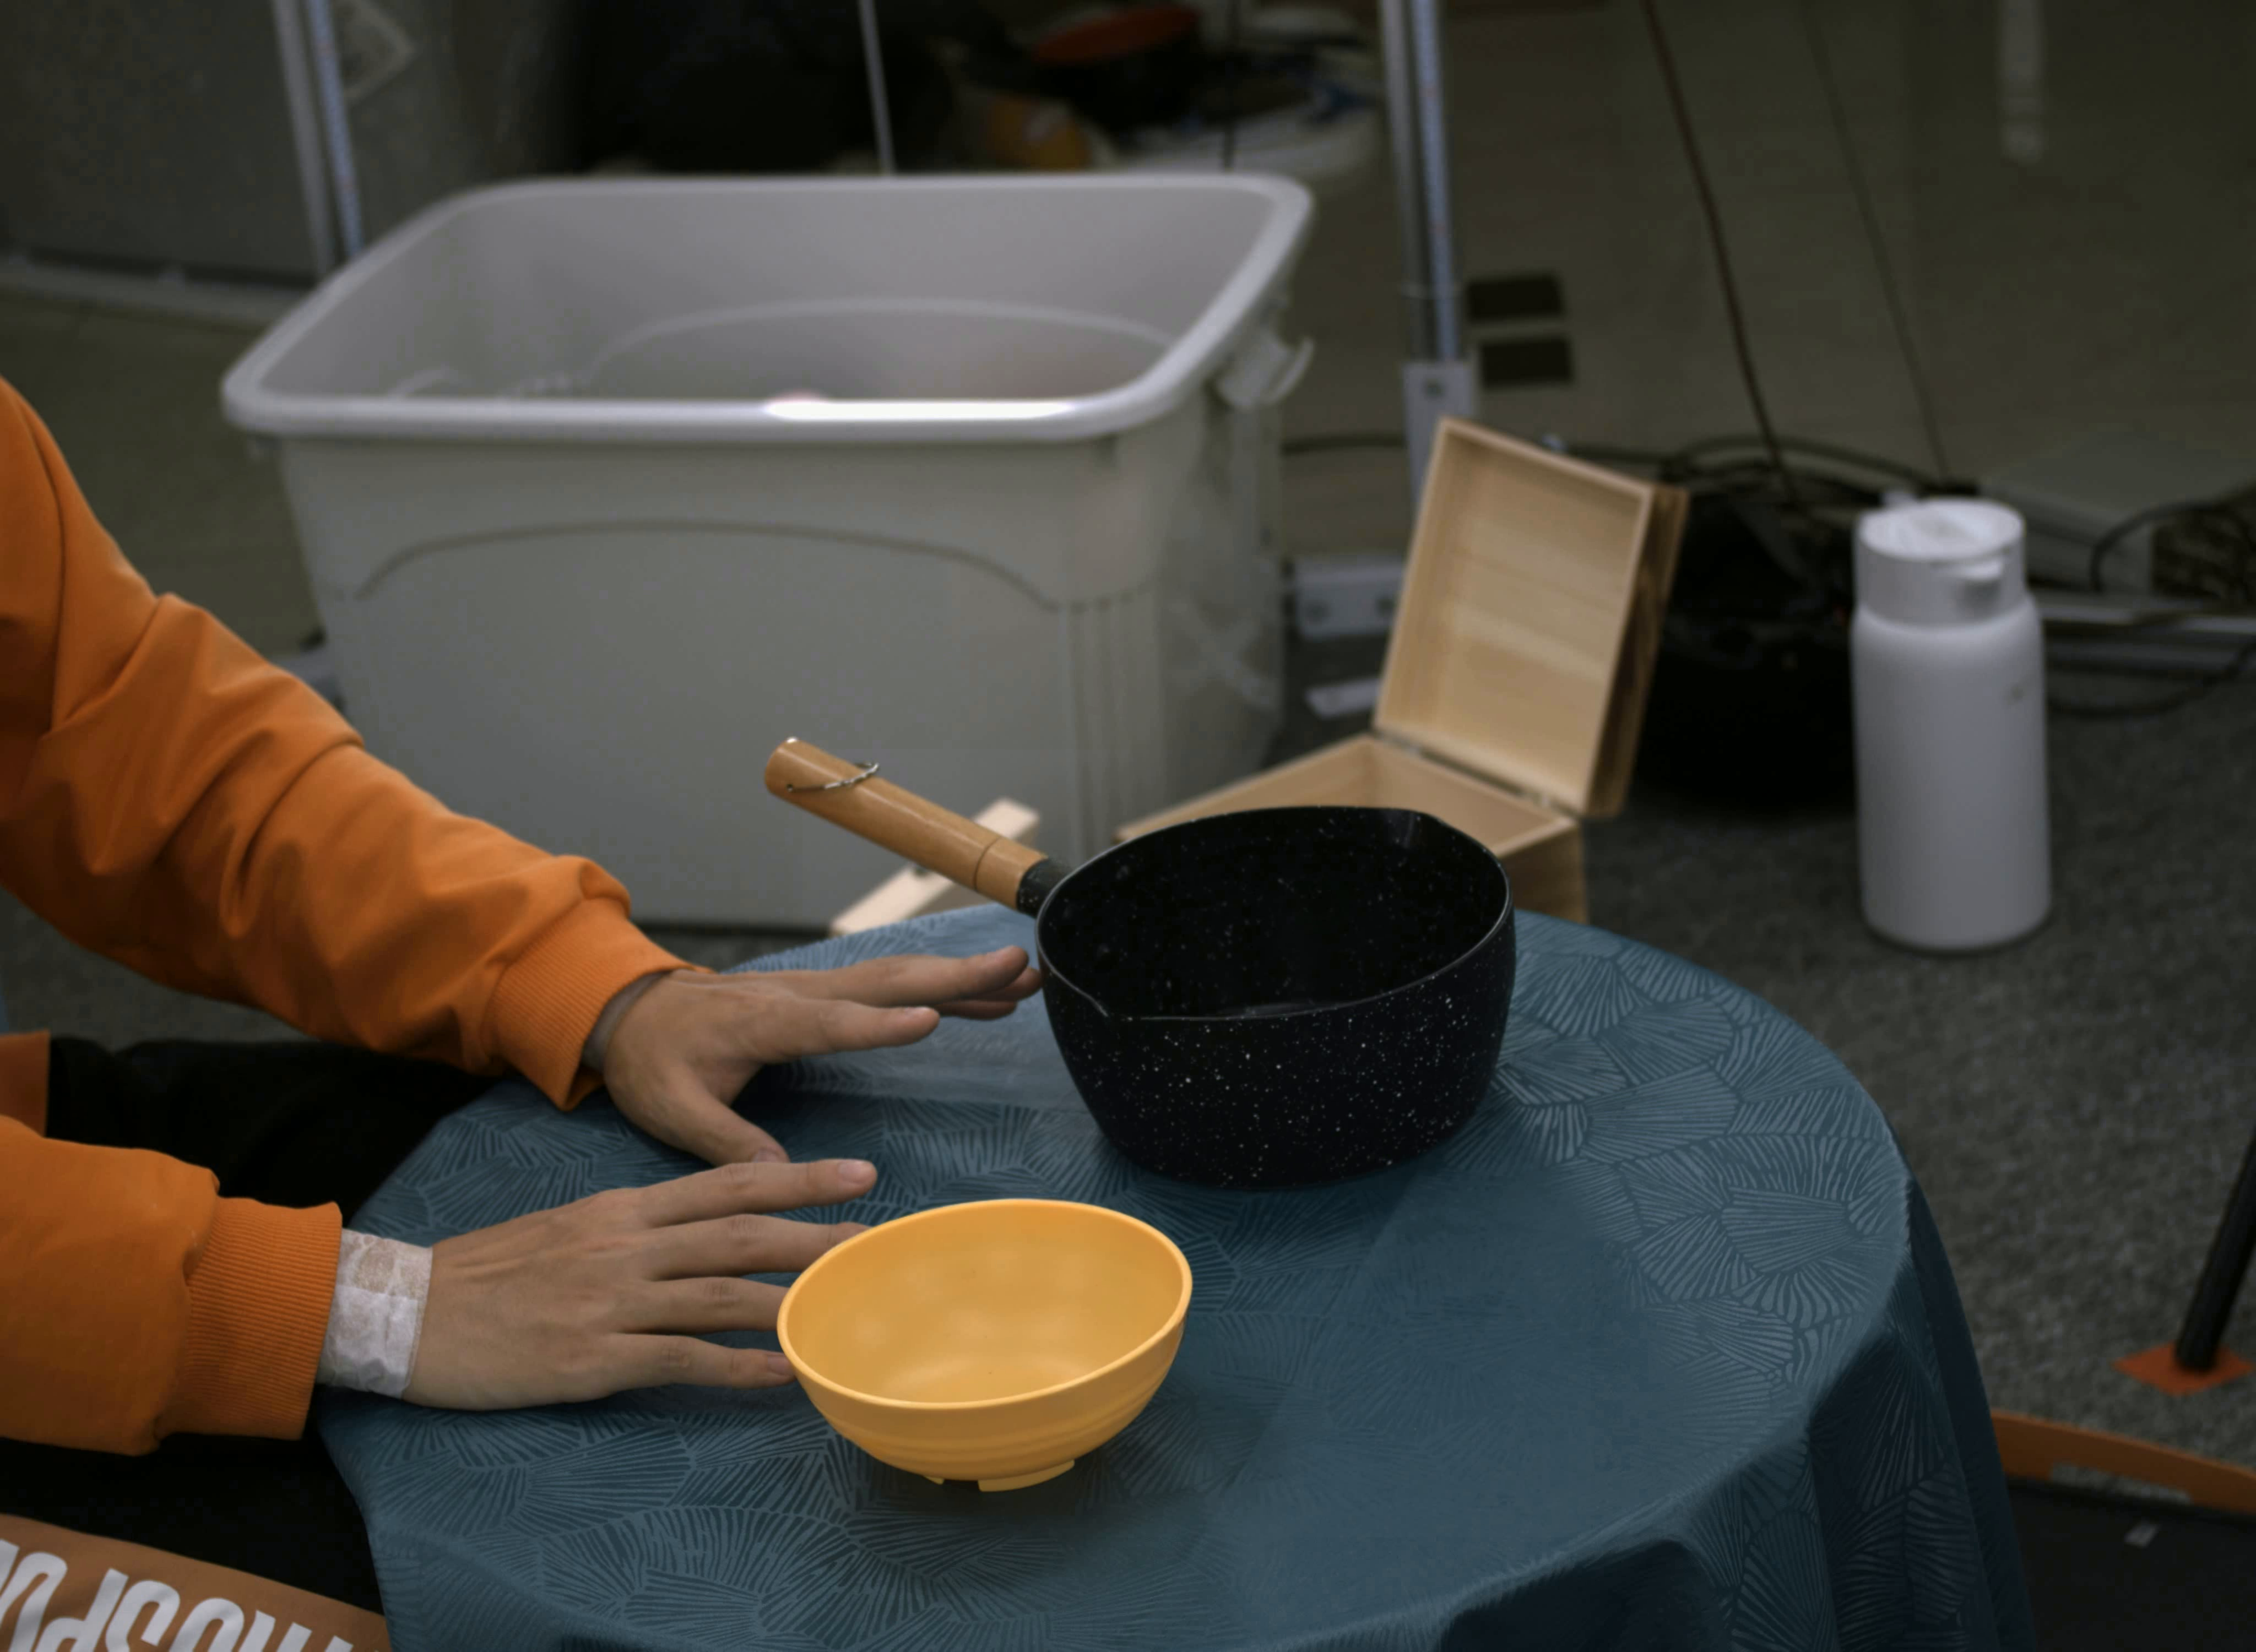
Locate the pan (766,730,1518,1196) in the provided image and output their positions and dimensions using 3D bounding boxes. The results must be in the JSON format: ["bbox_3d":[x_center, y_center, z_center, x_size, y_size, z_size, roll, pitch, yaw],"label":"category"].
[{"bbox_3d":[-0.005,0.044,2.221,0.341,0.110,0.205,14,33,34],"label":"pan"}]

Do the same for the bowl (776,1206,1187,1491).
[{"bbox_3d":[-0.048,0.190,1.979,0.145,0.061,0.143,-5,24,2],"label":"bowl"}]
